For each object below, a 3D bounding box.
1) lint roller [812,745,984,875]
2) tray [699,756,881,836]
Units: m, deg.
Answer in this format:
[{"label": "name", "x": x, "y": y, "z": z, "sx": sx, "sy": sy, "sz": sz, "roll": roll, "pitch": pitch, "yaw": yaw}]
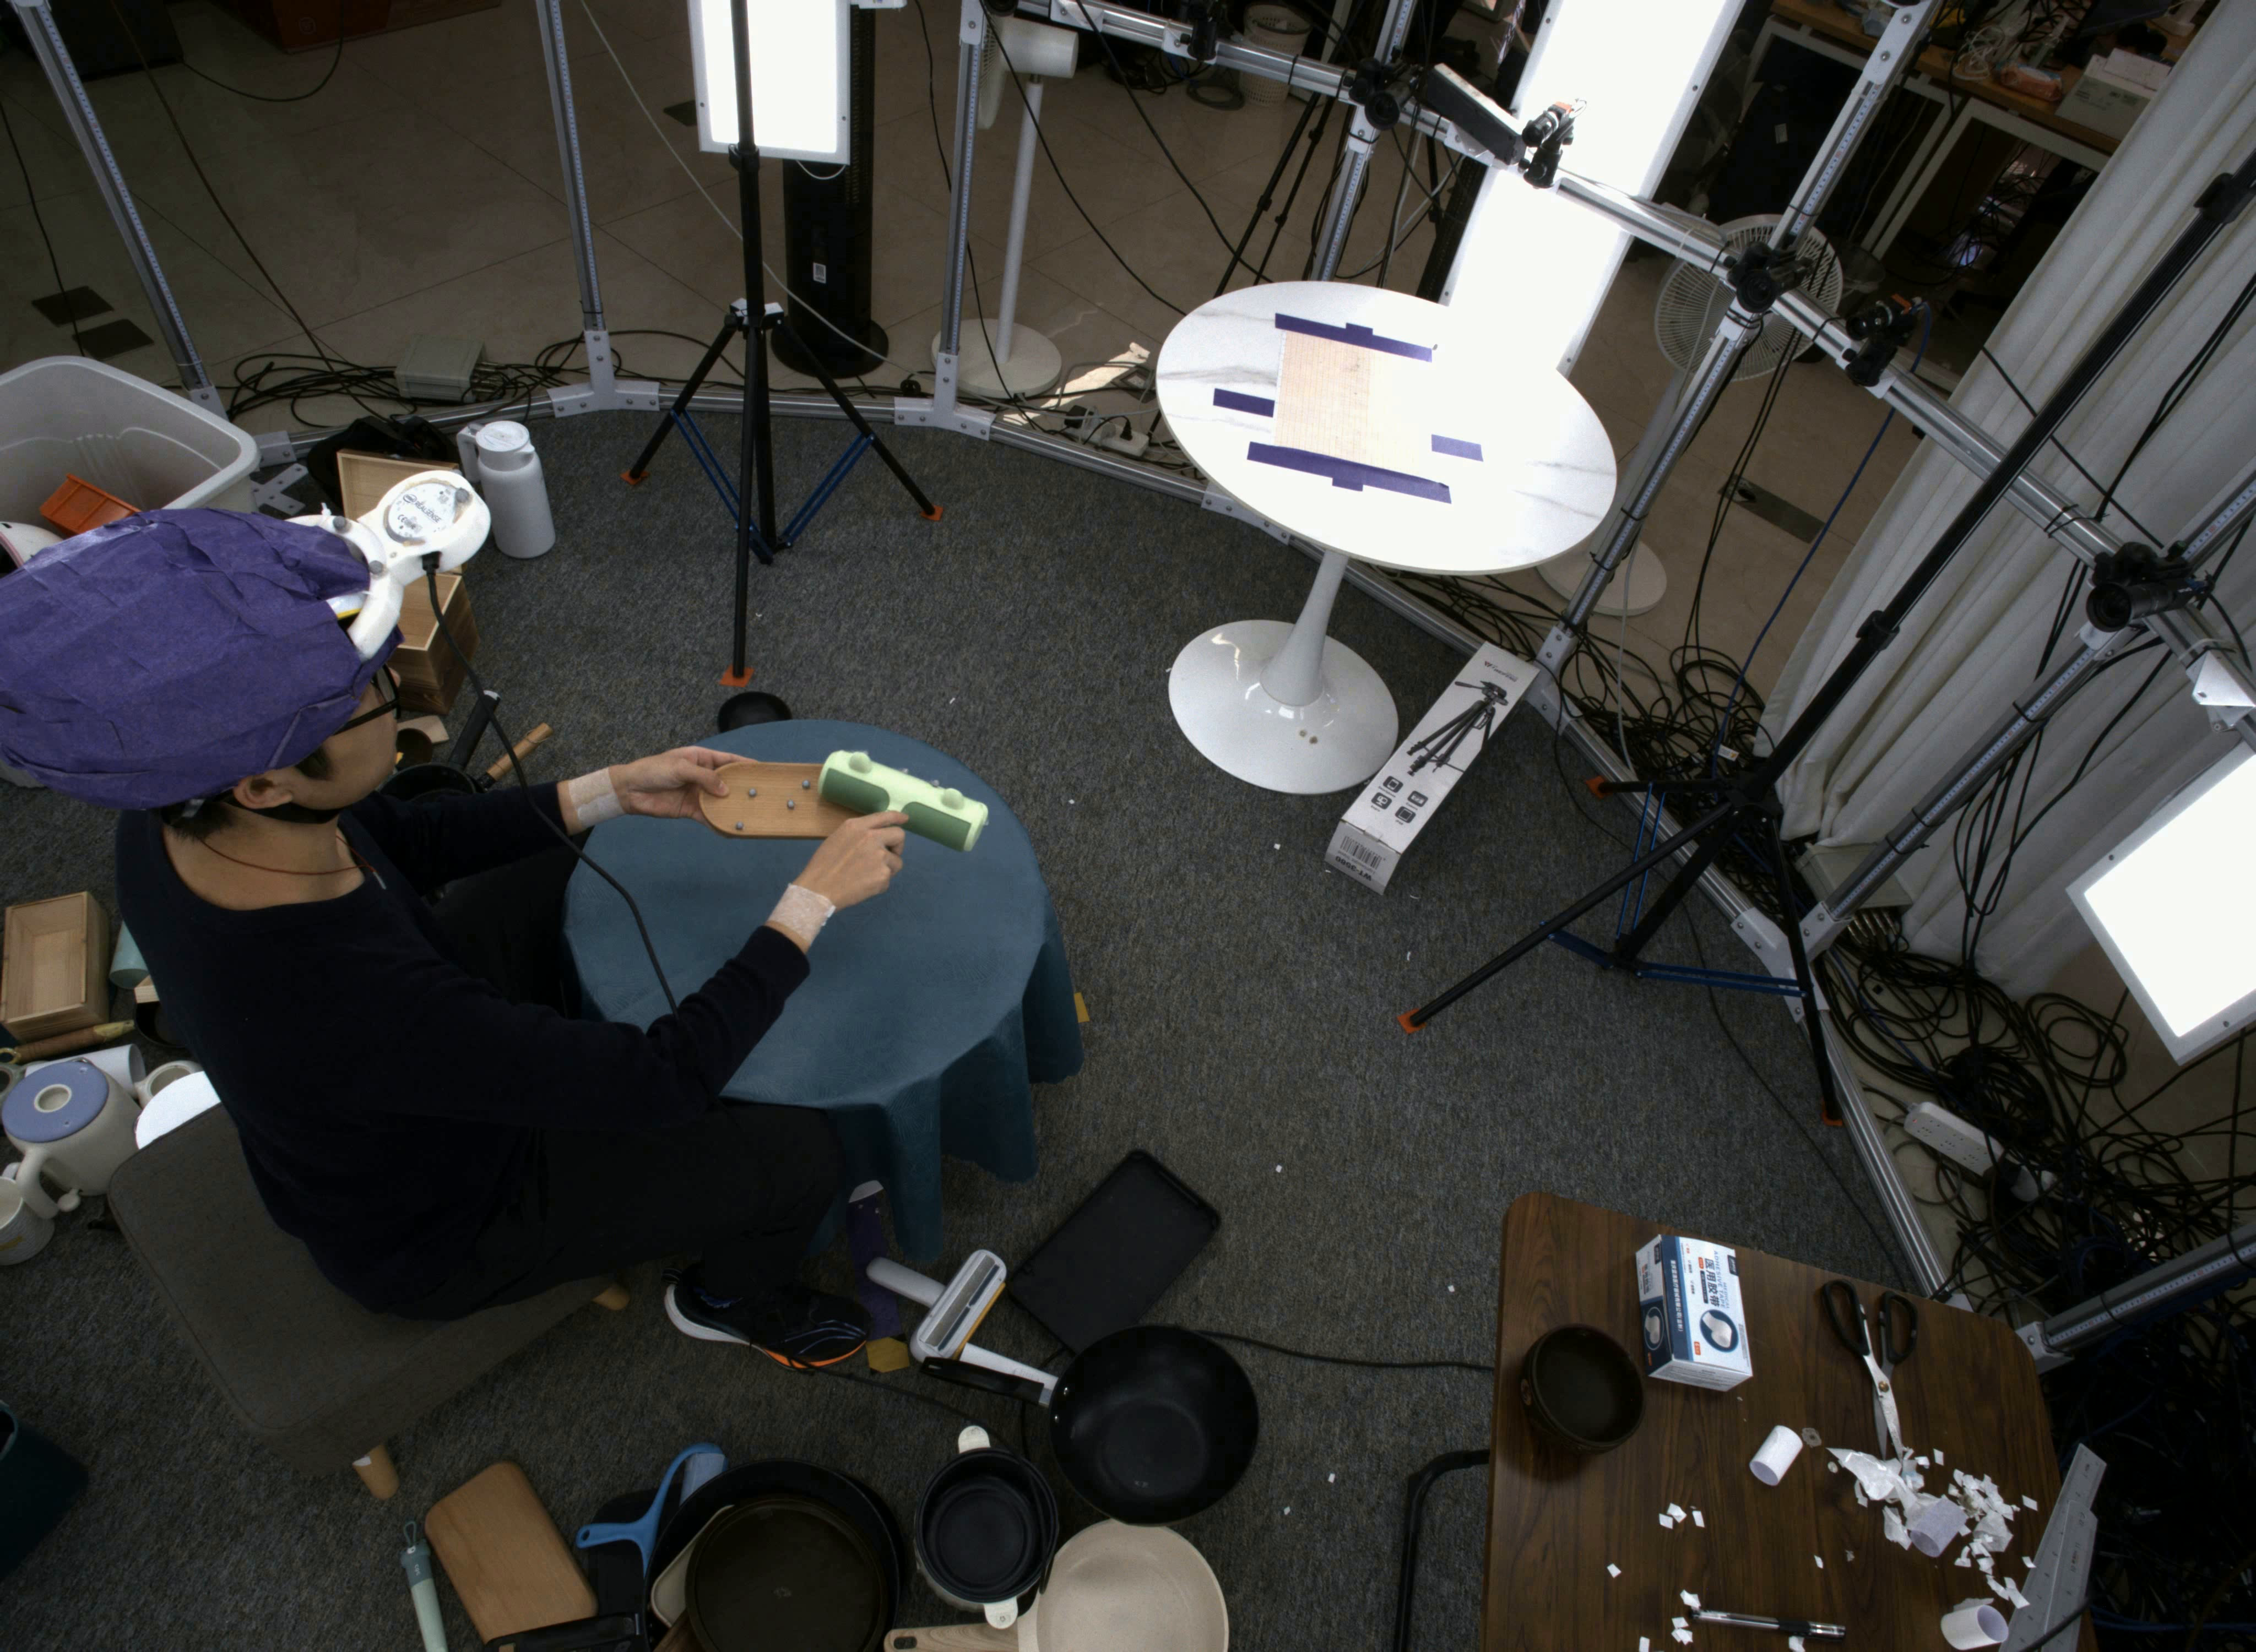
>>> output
[{"label": "lint roller", "x": -0.274, "y": -0.019, "z": 1.461, "sx": 0.197, "sy": 0.084, "sz": 0.181, "roll": 21, "pitch": 28, "yaw": -2}, {"label": "tray", "x": -0.381, "y": -0.034, "z": 1.509, "sx": 0.233, "sy": 0.020, "sz": 0.100, "roll": 1, "pitch": 62, "yaw": -21}]
